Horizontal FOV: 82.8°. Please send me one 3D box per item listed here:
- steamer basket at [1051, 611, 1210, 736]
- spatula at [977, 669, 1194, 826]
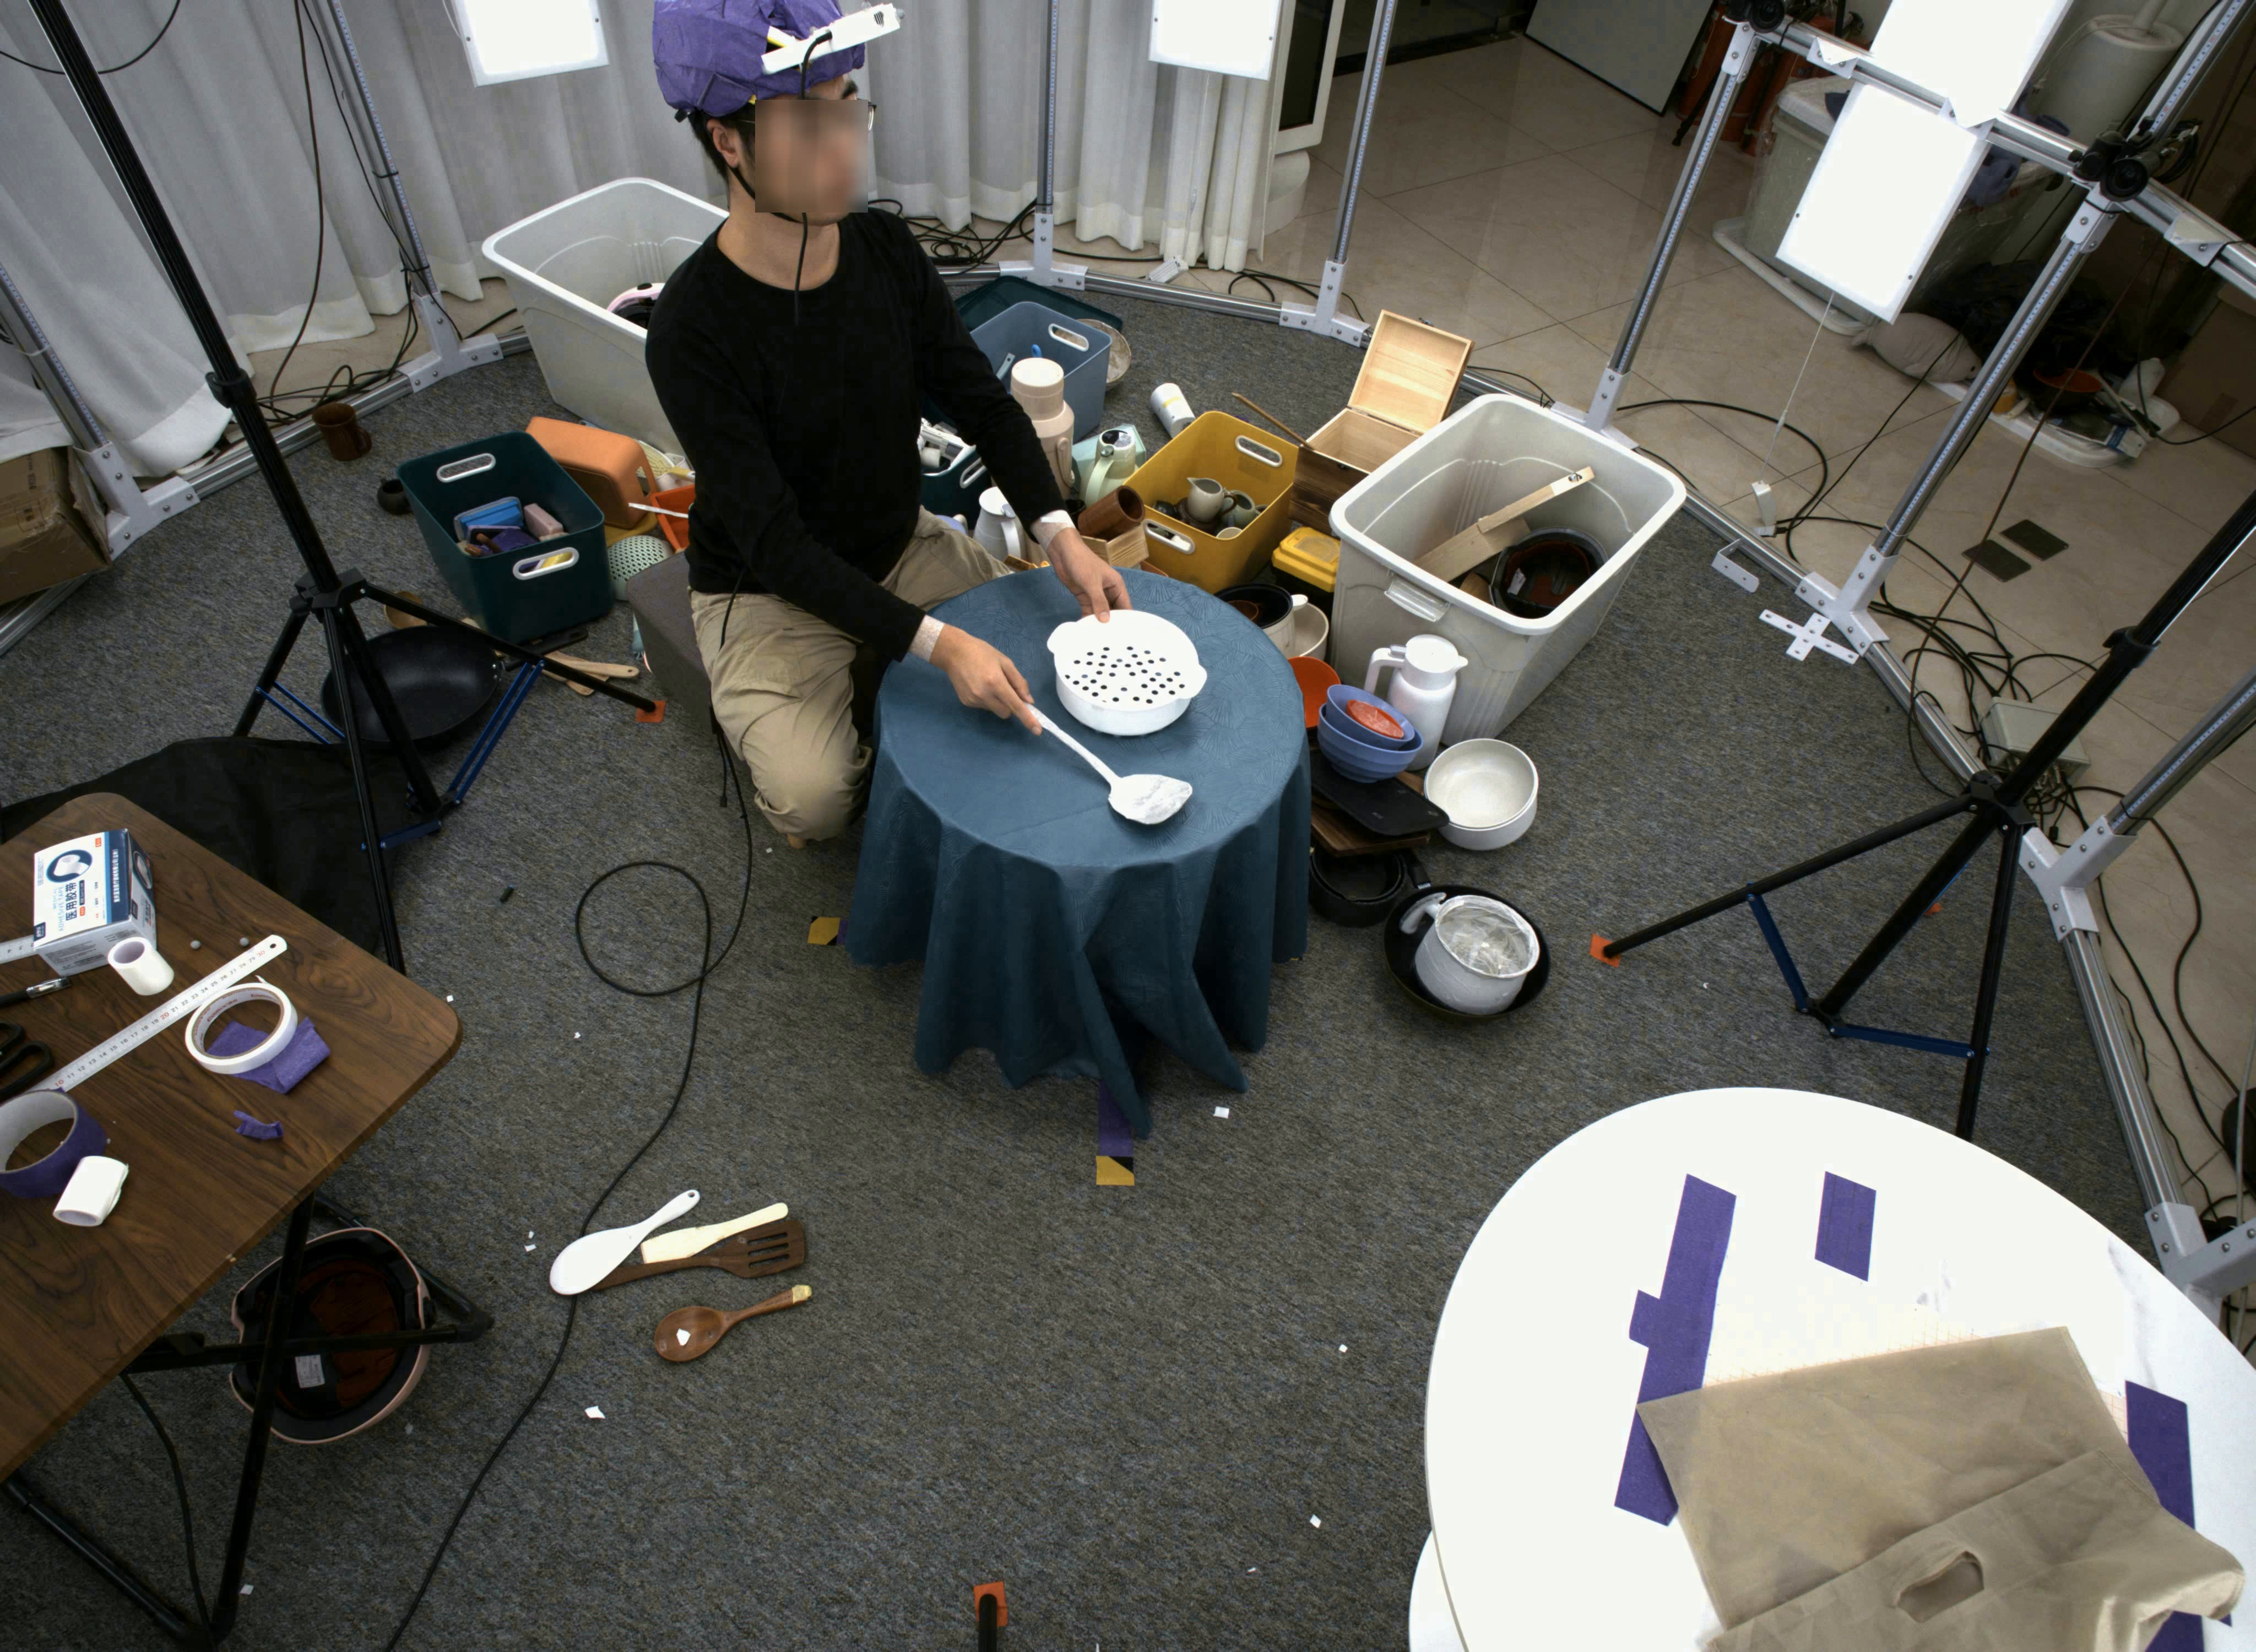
[{"bbox_3d":[0.001,-0.214,1.810,0.232,0.067,0.205,21,51,15],"label":"steamer basket"},{"bbox_3d":[-0.074,-0.117,1.725,0.368,0.044,0.100,38,58,17],"label":"spatula"}]
